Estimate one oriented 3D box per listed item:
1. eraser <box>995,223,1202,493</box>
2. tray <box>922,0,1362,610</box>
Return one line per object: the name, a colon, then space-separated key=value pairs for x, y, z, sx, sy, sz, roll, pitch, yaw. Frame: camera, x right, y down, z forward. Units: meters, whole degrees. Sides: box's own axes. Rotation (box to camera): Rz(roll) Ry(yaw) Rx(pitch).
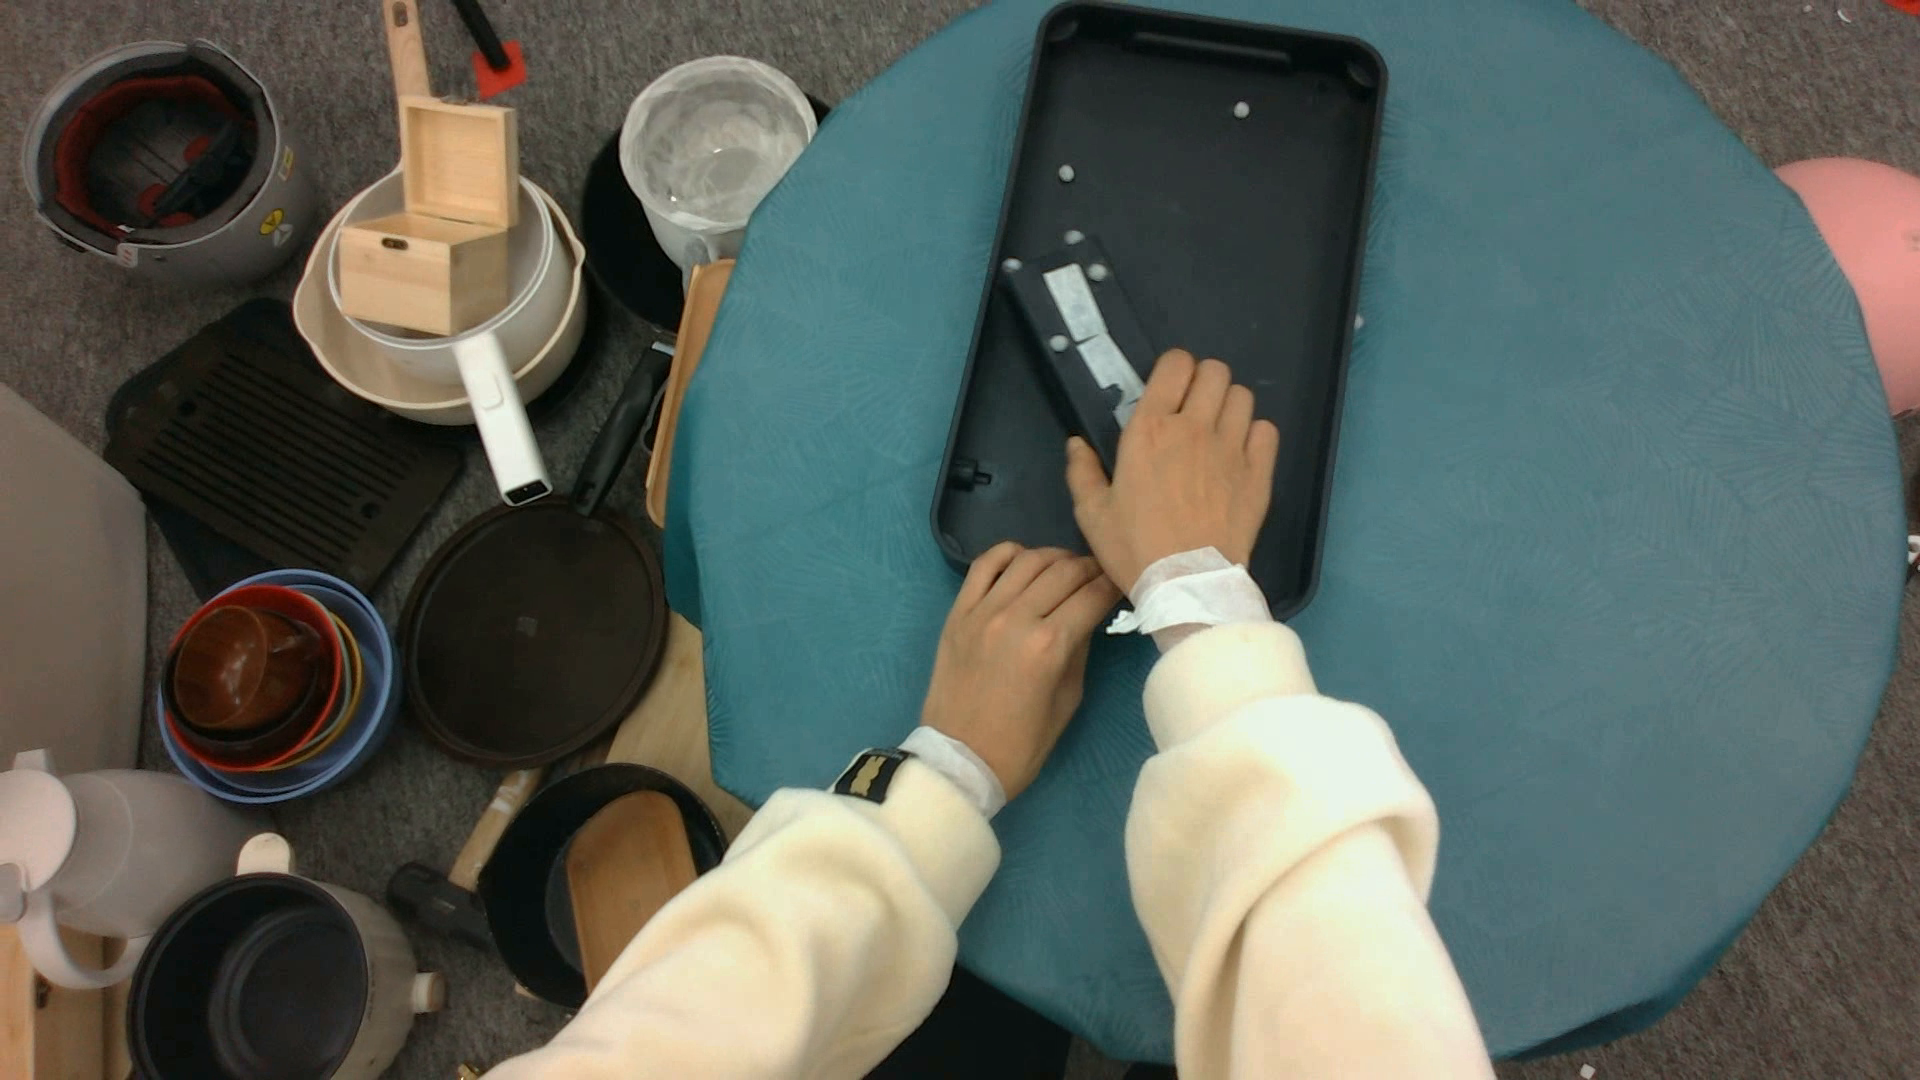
eraser: x=0.067 y=-0.089 z=0.676 sx=0.053 sy=0.030 sz=0.125 roll=-26 pitch=81 yaw=2
tray: x=0.096 y=-0.129 z=0.696 sx=0.184 sy=0.037 sz=0.319 roll=9 pitch=73 yaw=4
